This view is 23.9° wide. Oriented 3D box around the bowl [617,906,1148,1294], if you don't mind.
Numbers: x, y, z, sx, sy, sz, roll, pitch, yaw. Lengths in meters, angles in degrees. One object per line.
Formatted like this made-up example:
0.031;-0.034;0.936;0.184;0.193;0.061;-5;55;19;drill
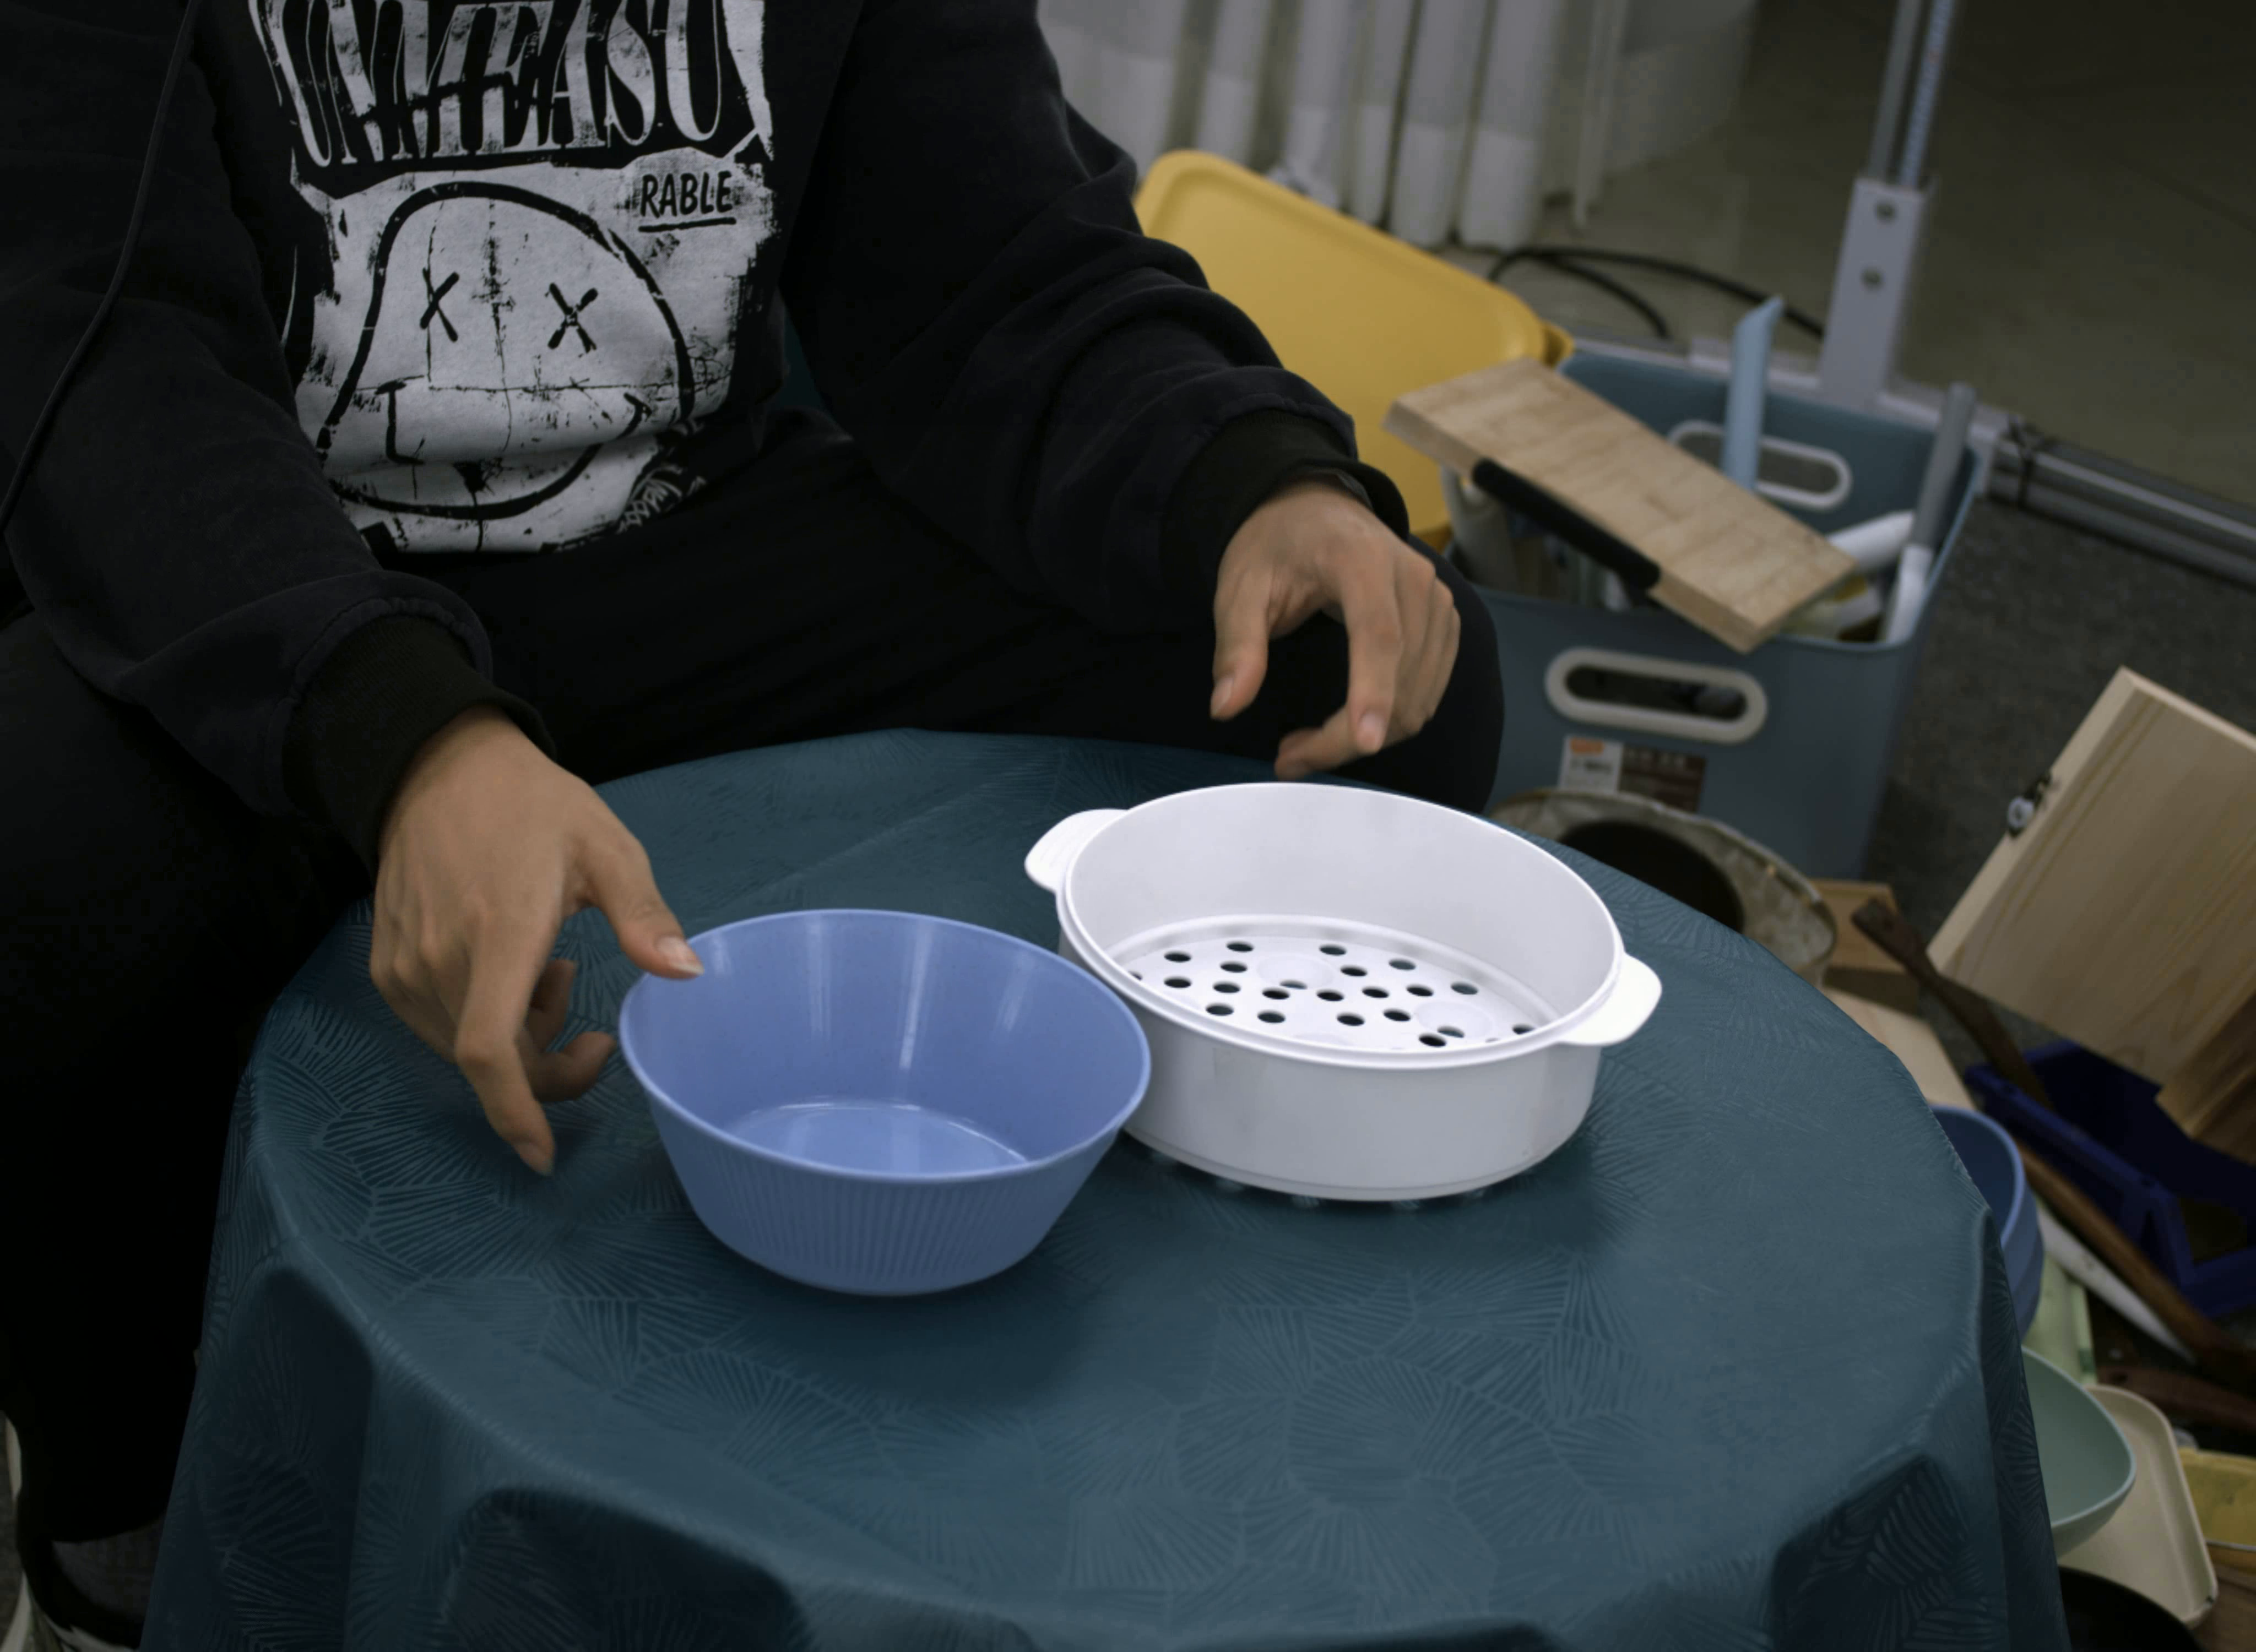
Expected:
-0.084;0.096;1.756;0.175;0.070;0.177;6;28;-3;bowl

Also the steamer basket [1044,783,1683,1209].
0.077;0.060;1.868;0.231;0.069;0.202;18;29;17;steamer basket
